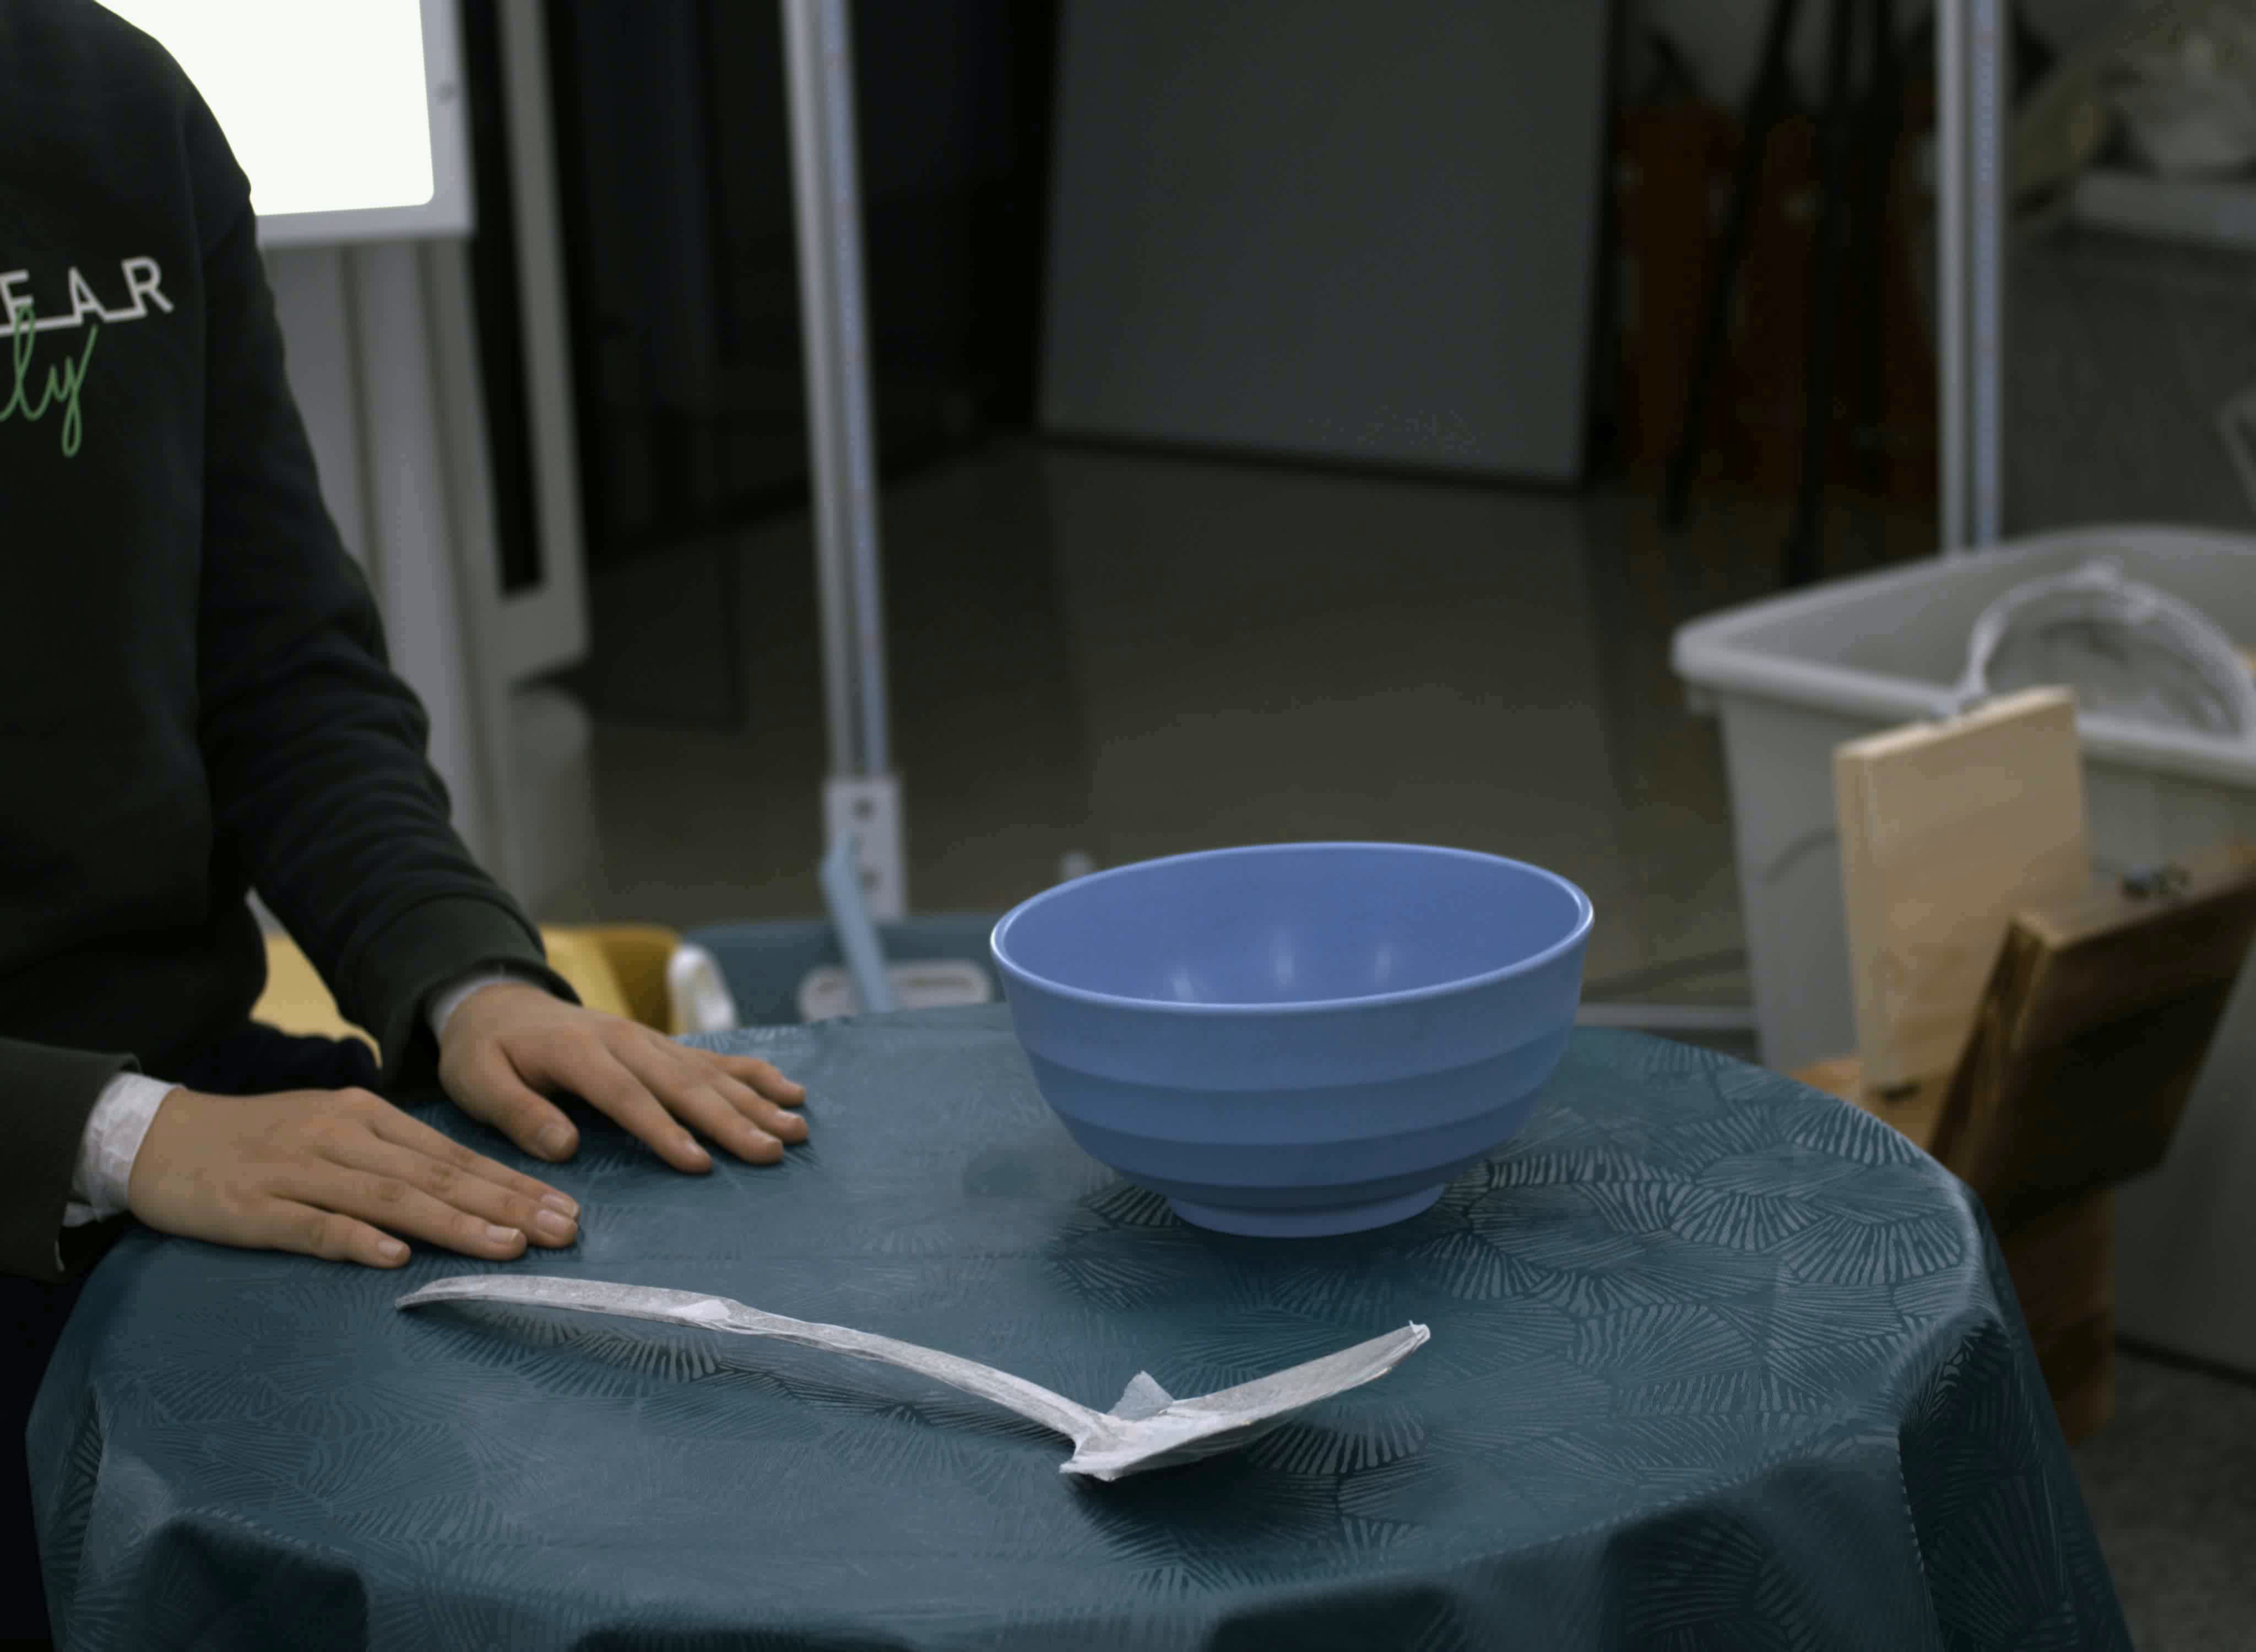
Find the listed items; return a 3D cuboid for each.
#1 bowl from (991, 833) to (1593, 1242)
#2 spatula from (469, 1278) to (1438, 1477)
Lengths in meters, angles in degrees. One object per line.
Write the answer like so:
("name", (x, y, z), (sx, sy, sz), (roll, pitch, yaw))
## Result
("bowl", (0.055, 0.074, 1.744), (0.194, 0.096, 0.197), (-4, 15, 0))
("spatula", (-0.072, 0.150, 1.593), (0.367, 0.045, 0.097), (7, 19, 38))
